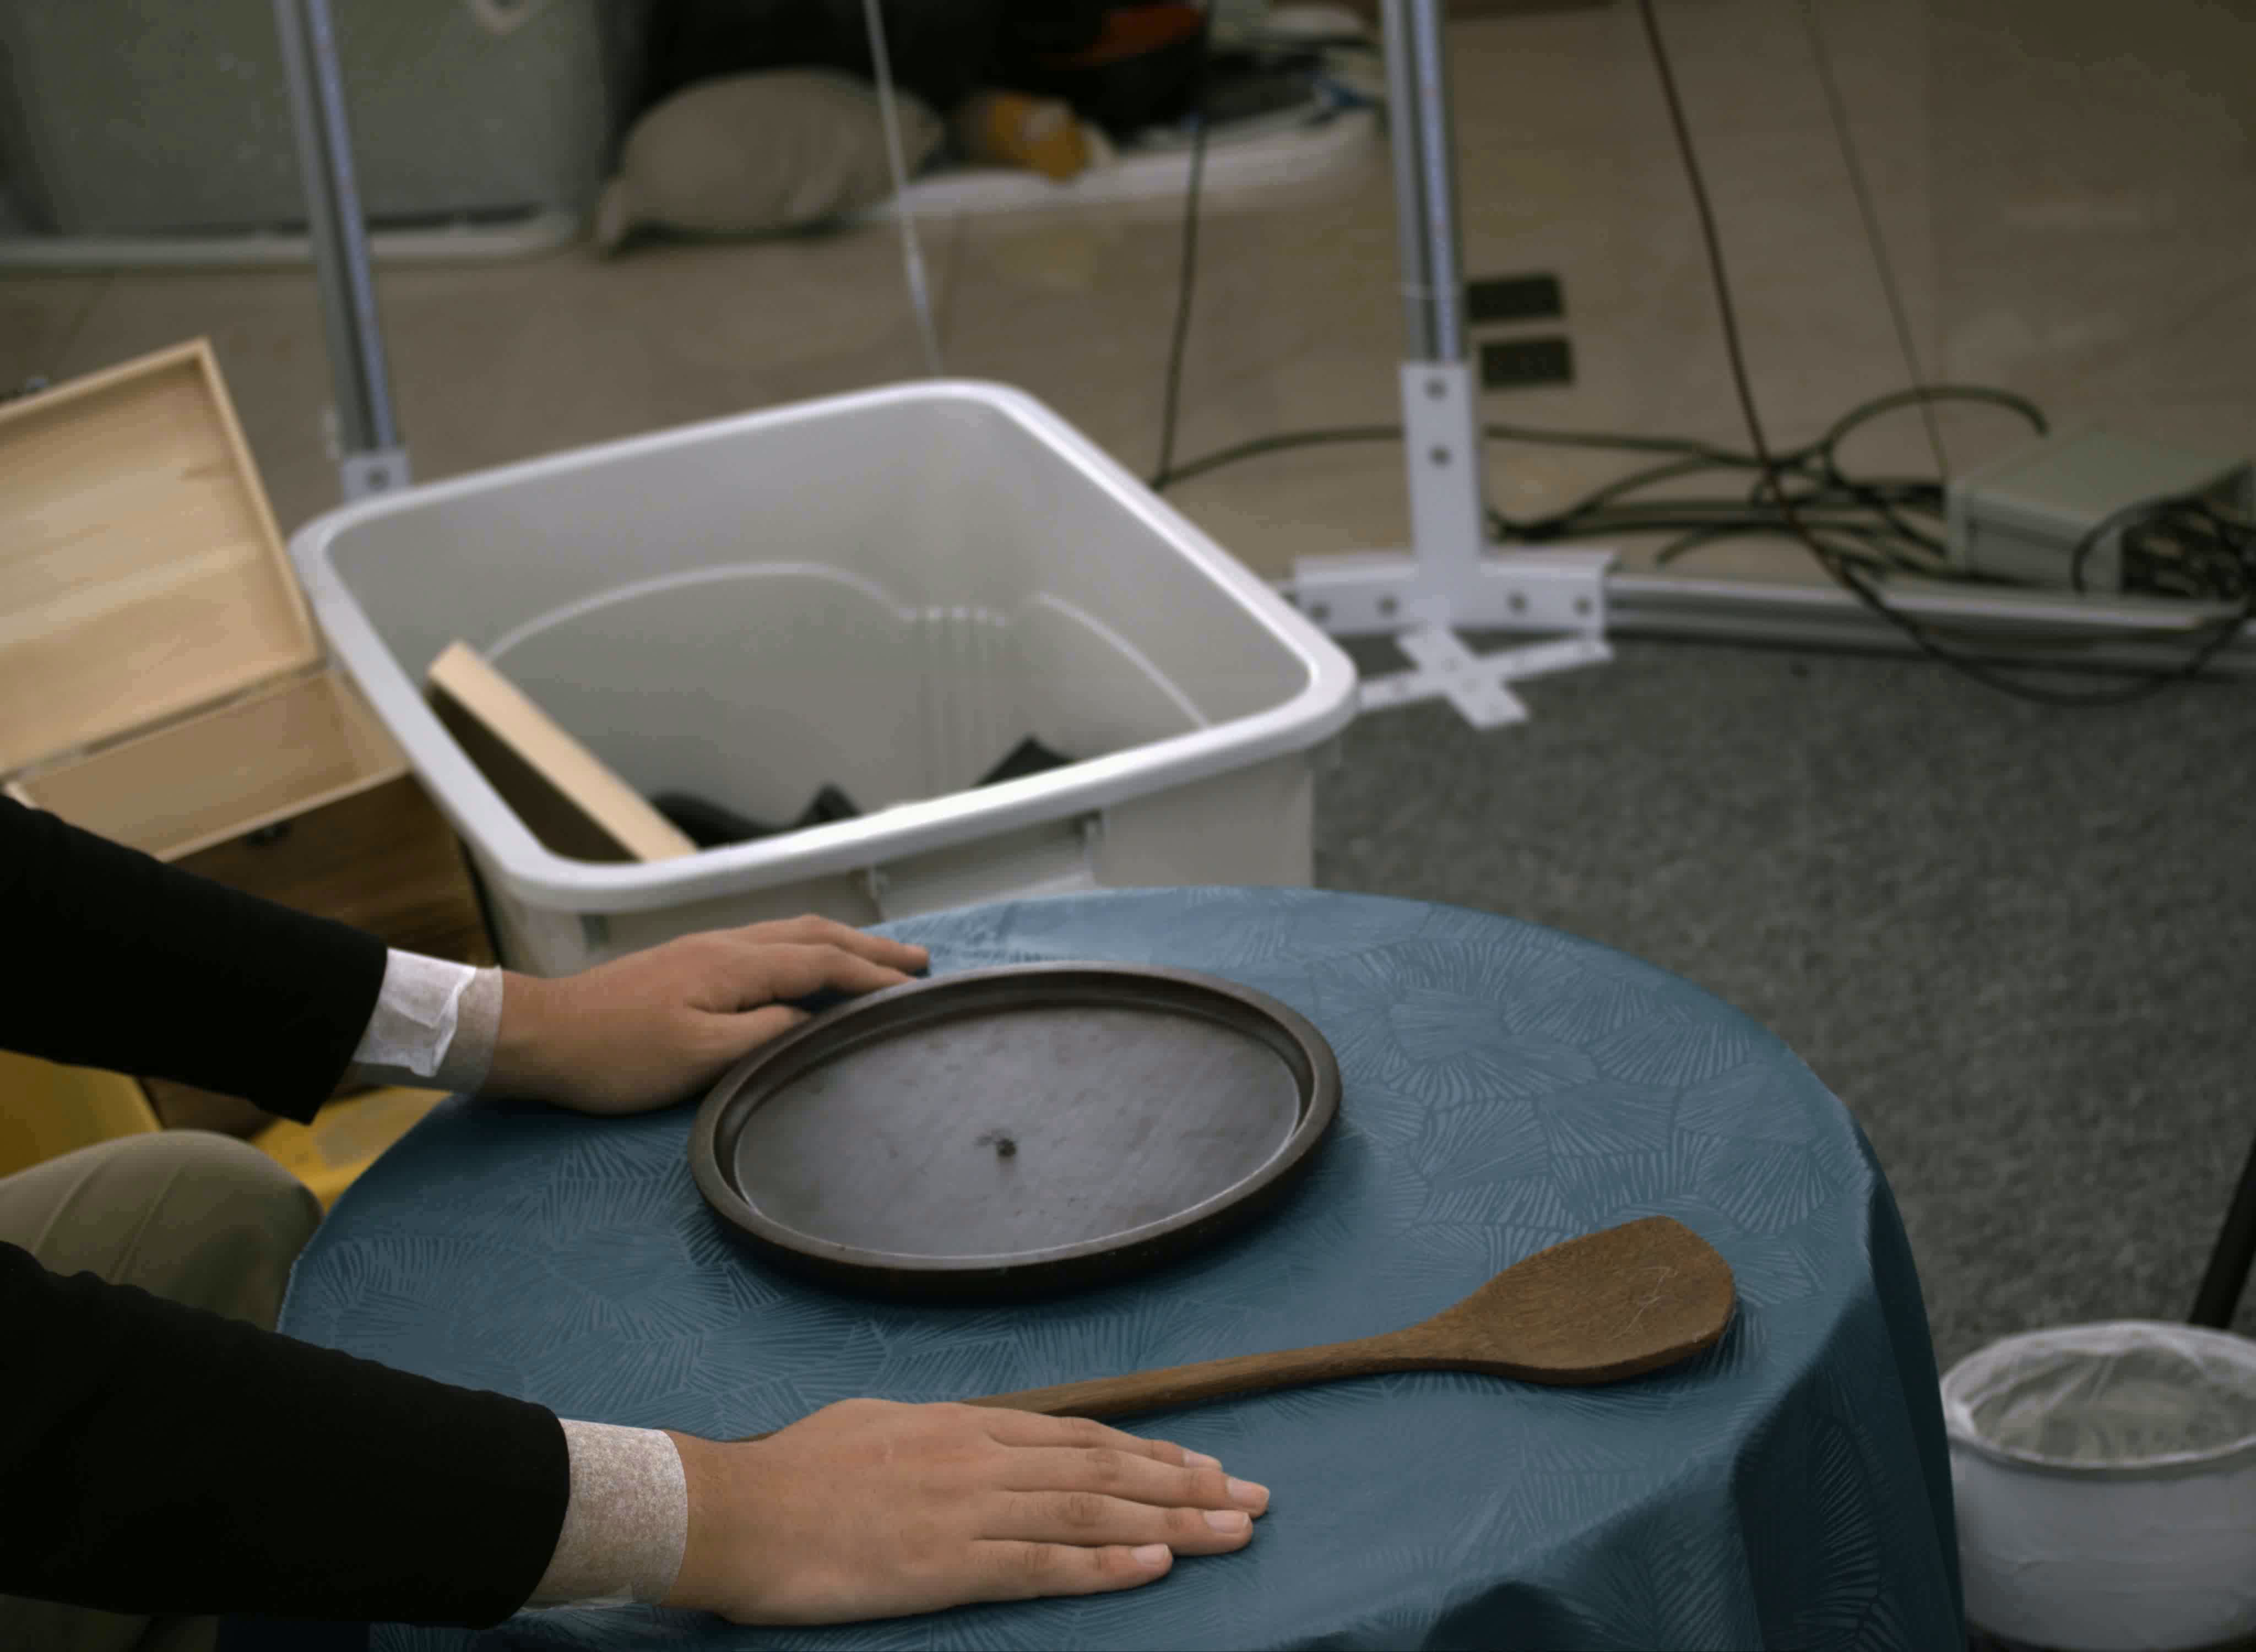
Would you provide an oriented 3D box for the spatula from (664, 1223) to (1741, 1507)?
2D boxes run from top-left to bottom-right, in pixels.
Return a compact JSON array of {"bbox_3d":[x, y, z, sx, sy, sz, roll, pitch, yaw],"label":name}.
[{"bbox_3d":[0.026,0.196,2.002,0.385,0.016,0.095,-10,24,-7],"label":"spatula"}]

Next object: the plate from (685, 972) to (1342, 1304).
[{"bbox_3d":[-0.044,0.118,2.179,0.254,0.029,0.251,-4,26,2],"label":"plate"}]
